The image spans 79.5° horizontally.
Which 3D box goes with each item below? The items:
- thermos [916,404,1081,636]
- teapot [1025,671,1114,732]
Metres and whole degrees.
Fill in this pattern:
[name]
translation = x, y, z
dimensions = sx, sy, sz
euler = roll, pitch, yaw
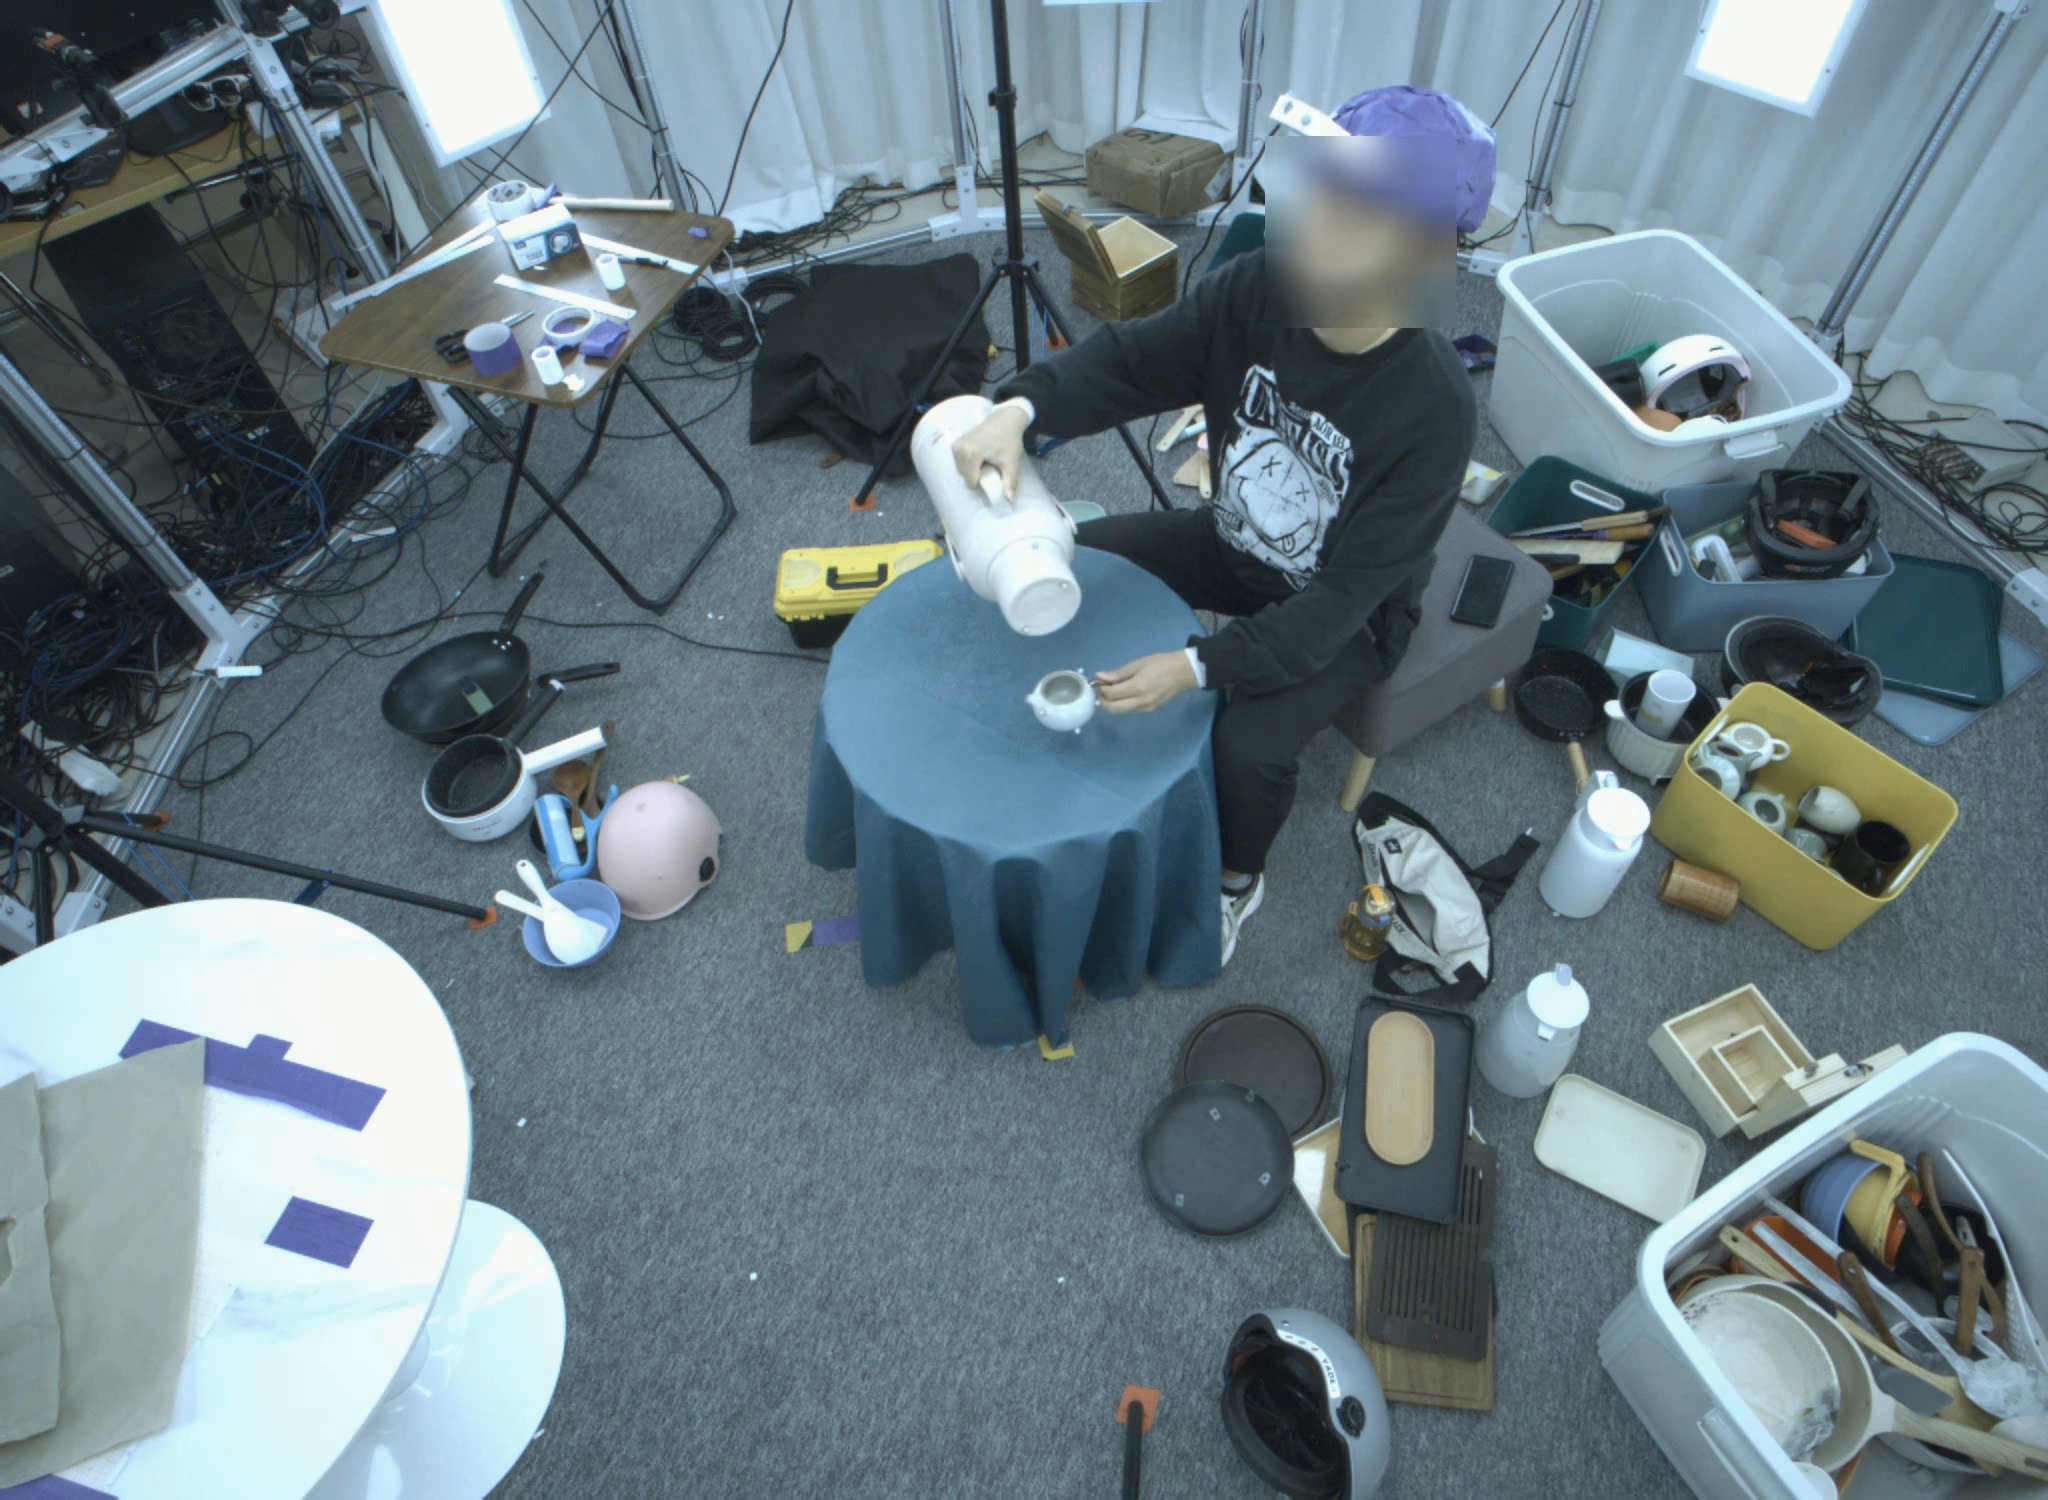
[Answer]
[thermos]
translation = -0.036, -0.337, 1.716
dimensions = 0.175, 0.211, 0.399
euler = -22, 51, 1
[teapot]
translation = 0.065, -0.071, 1.734
dimensions = 0.128, 0.060, 0.090
euler = -16, 50, -5
